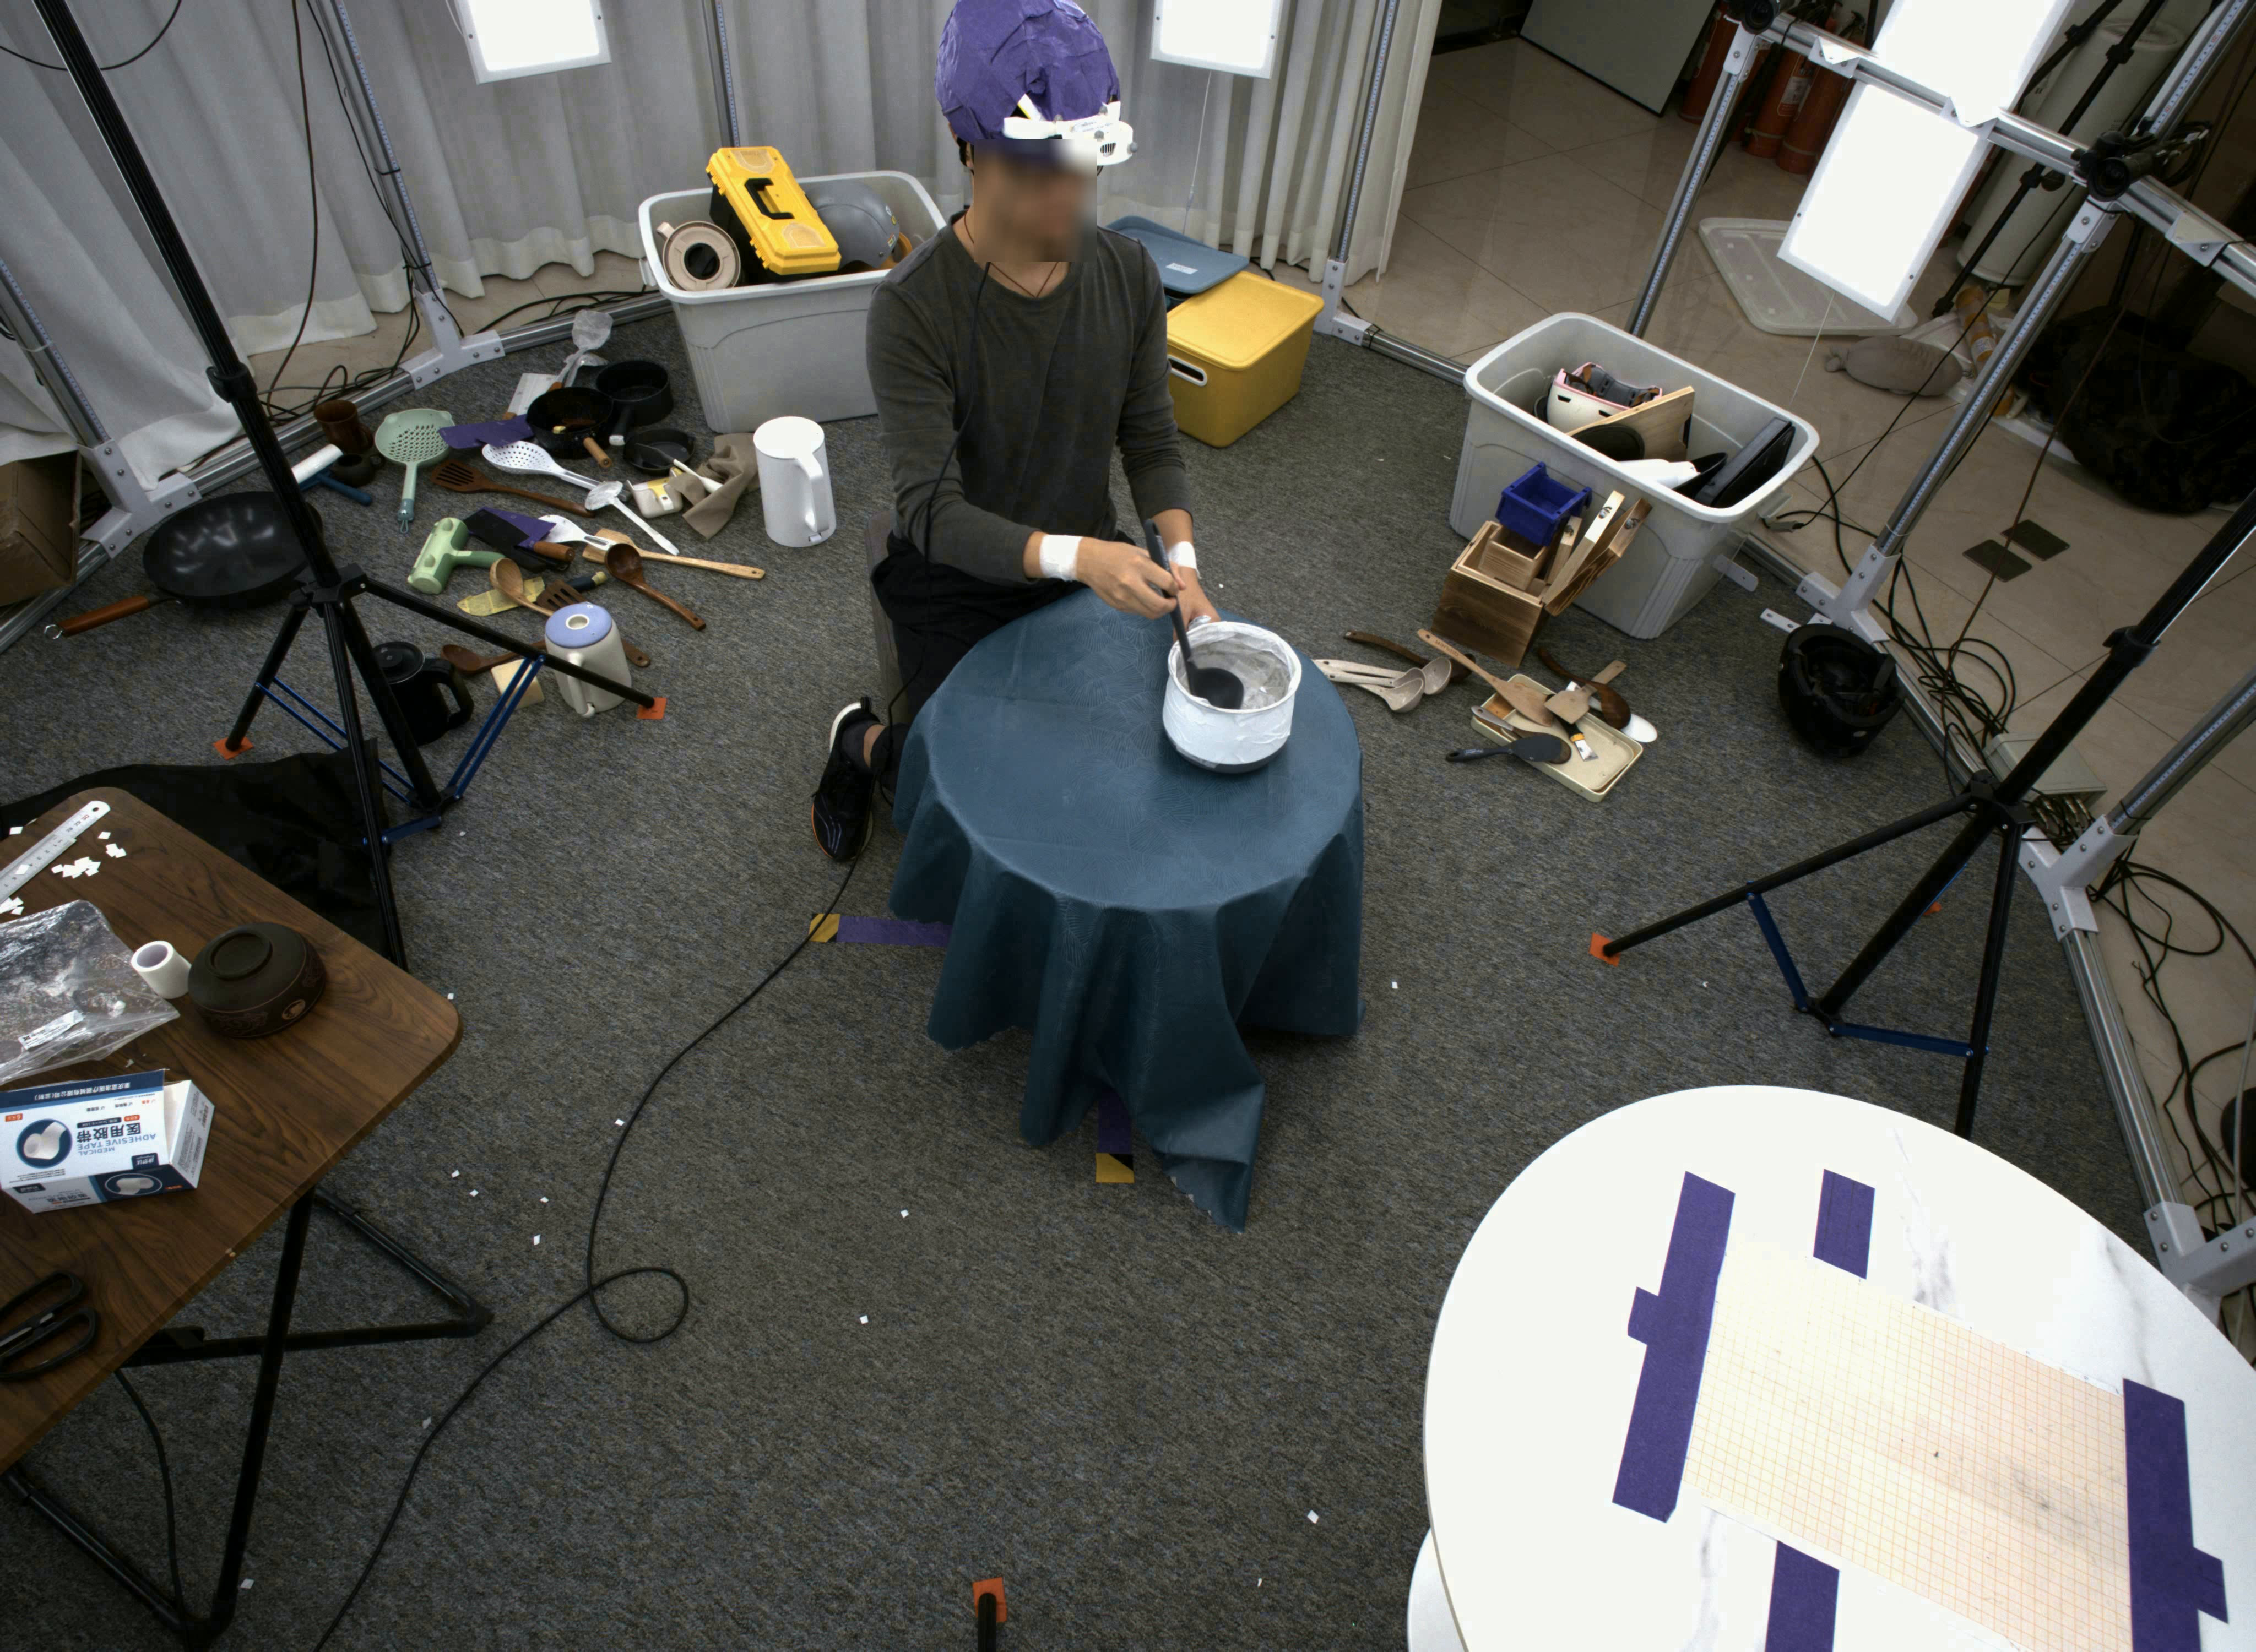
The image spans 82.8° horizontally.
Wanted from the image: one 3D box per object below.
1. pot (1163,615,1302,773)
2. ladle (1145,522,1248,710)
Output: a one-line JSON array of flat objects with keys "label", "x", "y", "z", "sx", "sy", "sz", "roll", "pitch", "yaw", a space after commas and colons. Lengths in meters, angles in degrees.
[{"label": "pot", "x": 0.127, "y": -0.190, "z": 1.752, "sx": 0.179, "sy": 0.133, "sz": 0.239, "roll": -15, "pitch": 51, "yaw": -16}, {"label": "ladle", "x": 0.087, "y": -0.254, "z": 1.618, "sx": 0.064, "sy": 0.306, "sz": 0.088, "roll": 1, "pitch": 48, "yaw": 22}]
